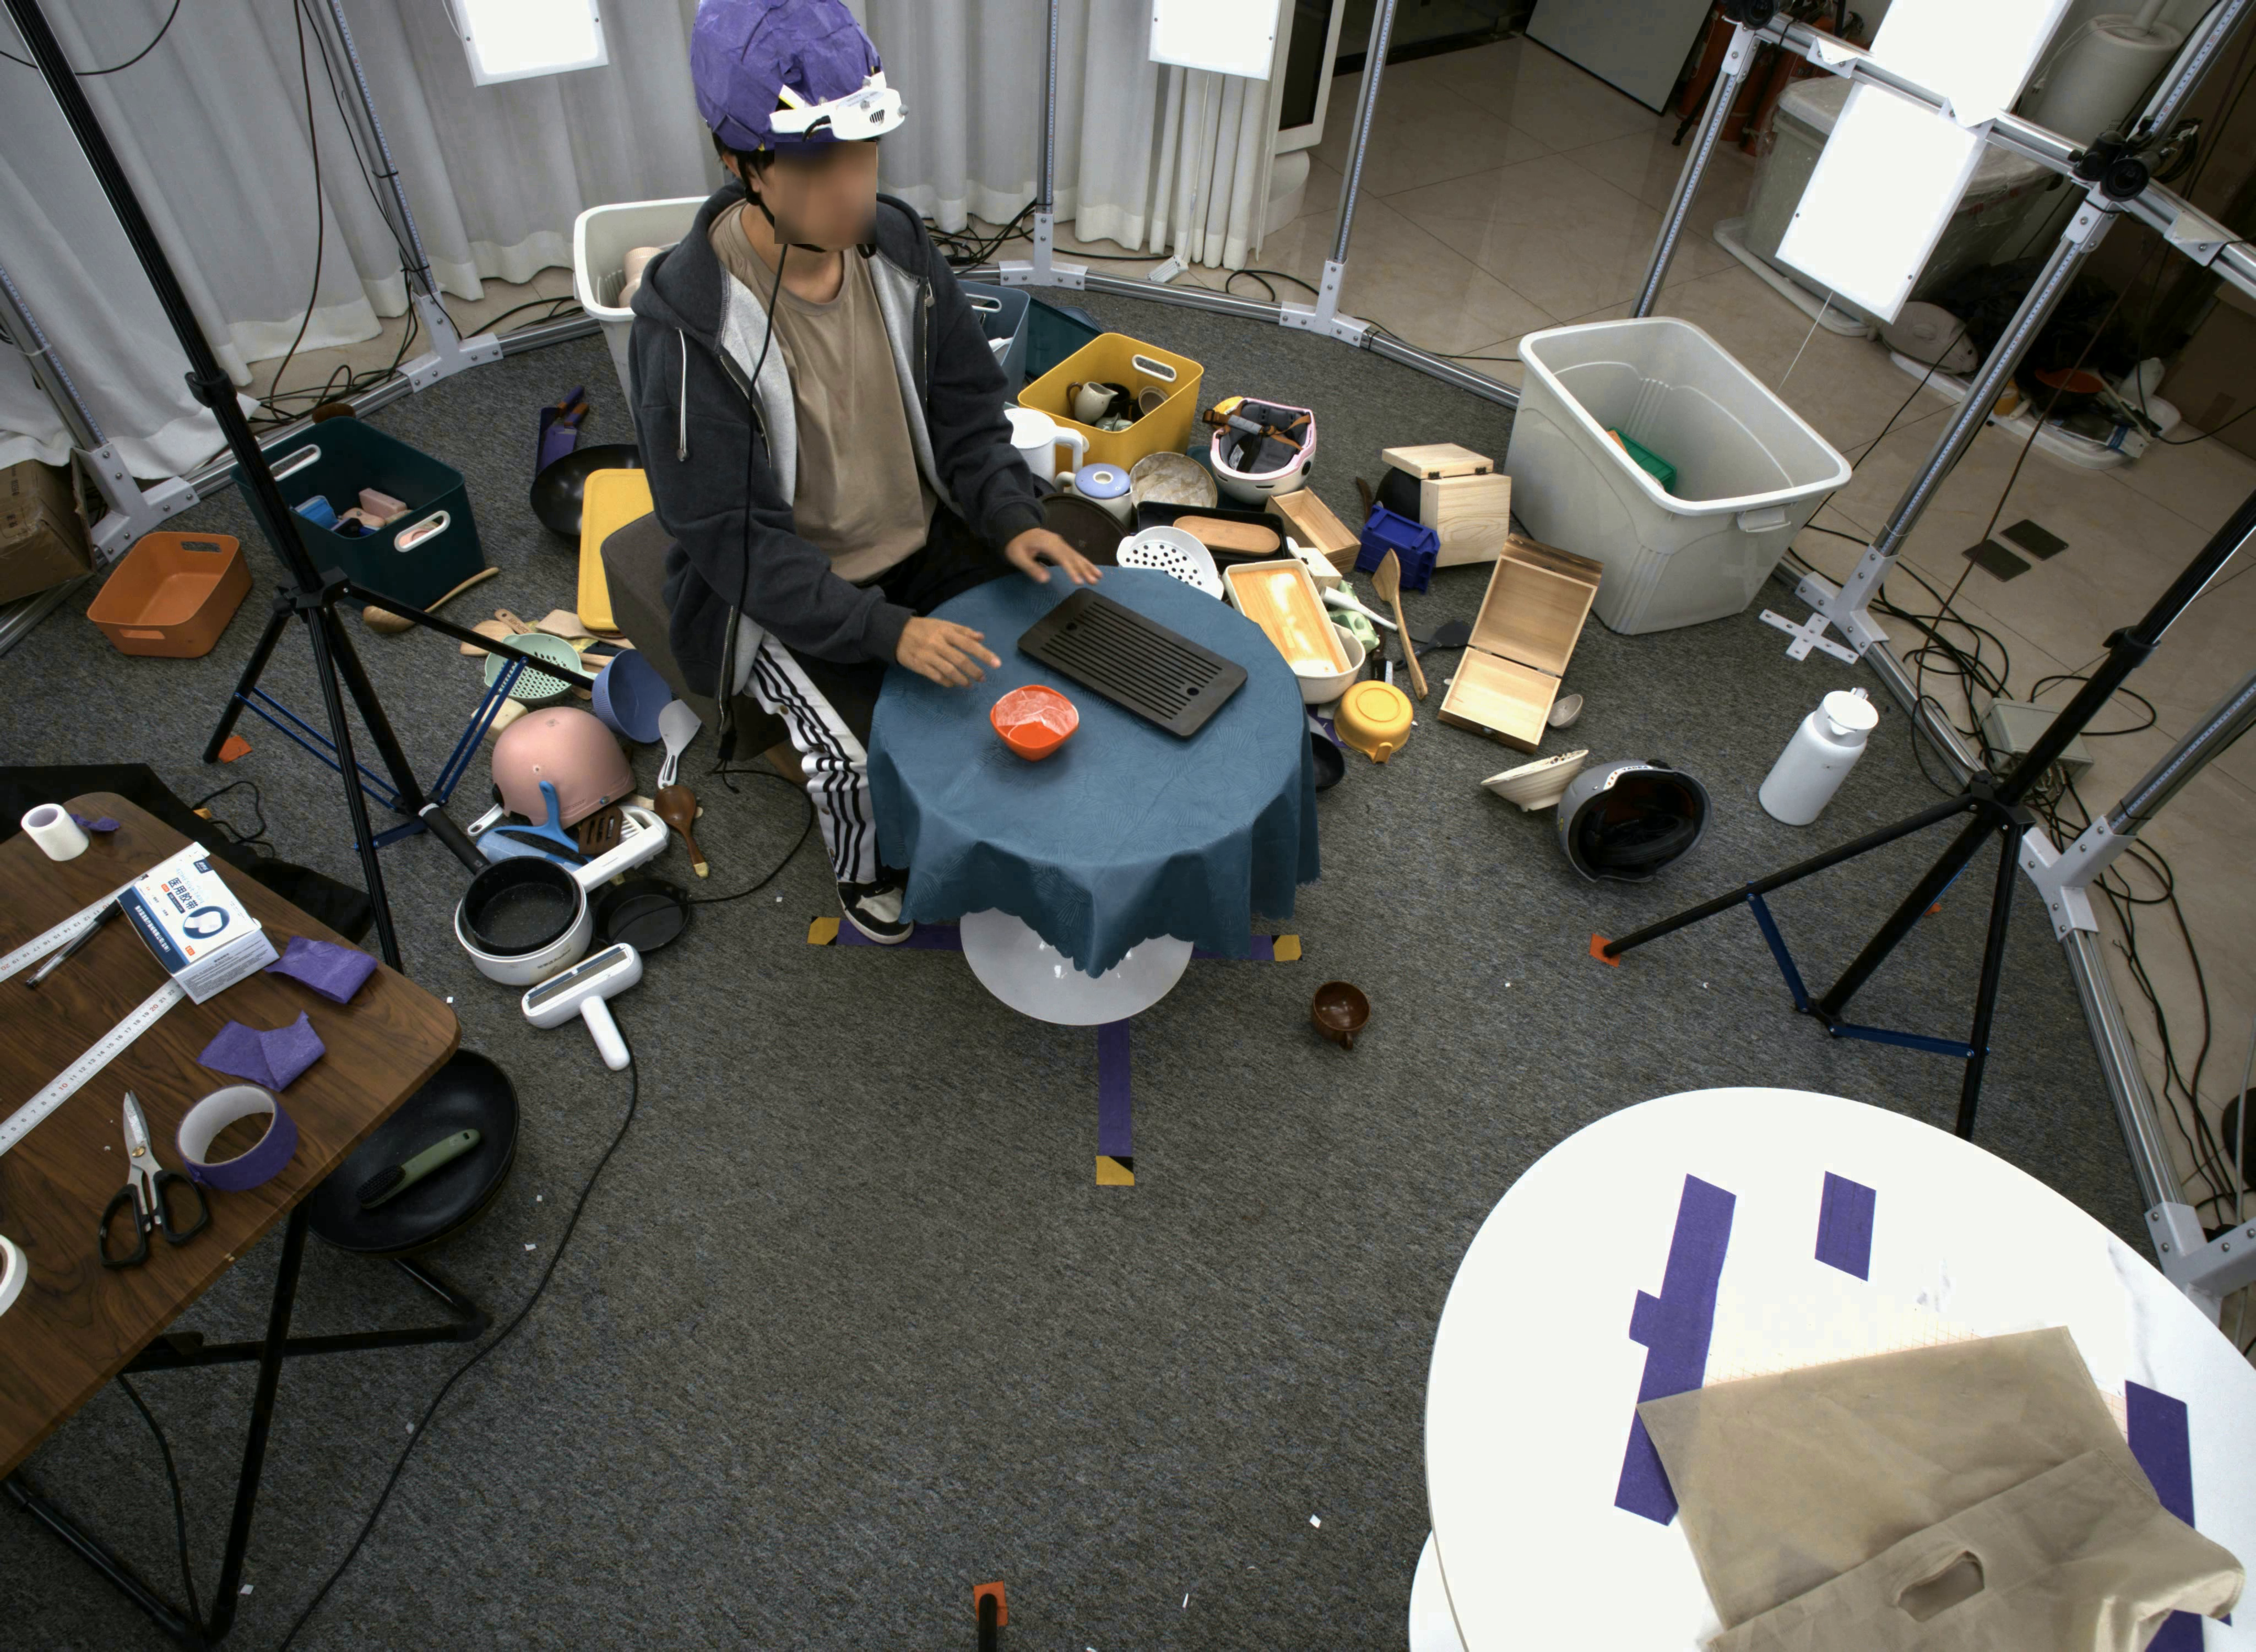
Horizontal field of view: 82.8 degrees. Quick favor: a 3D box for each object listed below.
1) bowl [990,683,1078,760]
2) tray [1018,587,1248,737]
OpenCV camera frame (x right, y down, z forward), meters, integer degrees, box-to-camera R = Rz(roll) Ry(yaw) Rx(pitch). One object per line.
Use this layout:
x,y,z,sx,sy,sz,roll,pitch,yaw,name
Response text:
-0.128,-0.135,1.739,0.119,0.050,0.122,2,50,-3,bowl
0.006,-0.240,1.864,0.309,0.018,0.172,30,54,21,tray
